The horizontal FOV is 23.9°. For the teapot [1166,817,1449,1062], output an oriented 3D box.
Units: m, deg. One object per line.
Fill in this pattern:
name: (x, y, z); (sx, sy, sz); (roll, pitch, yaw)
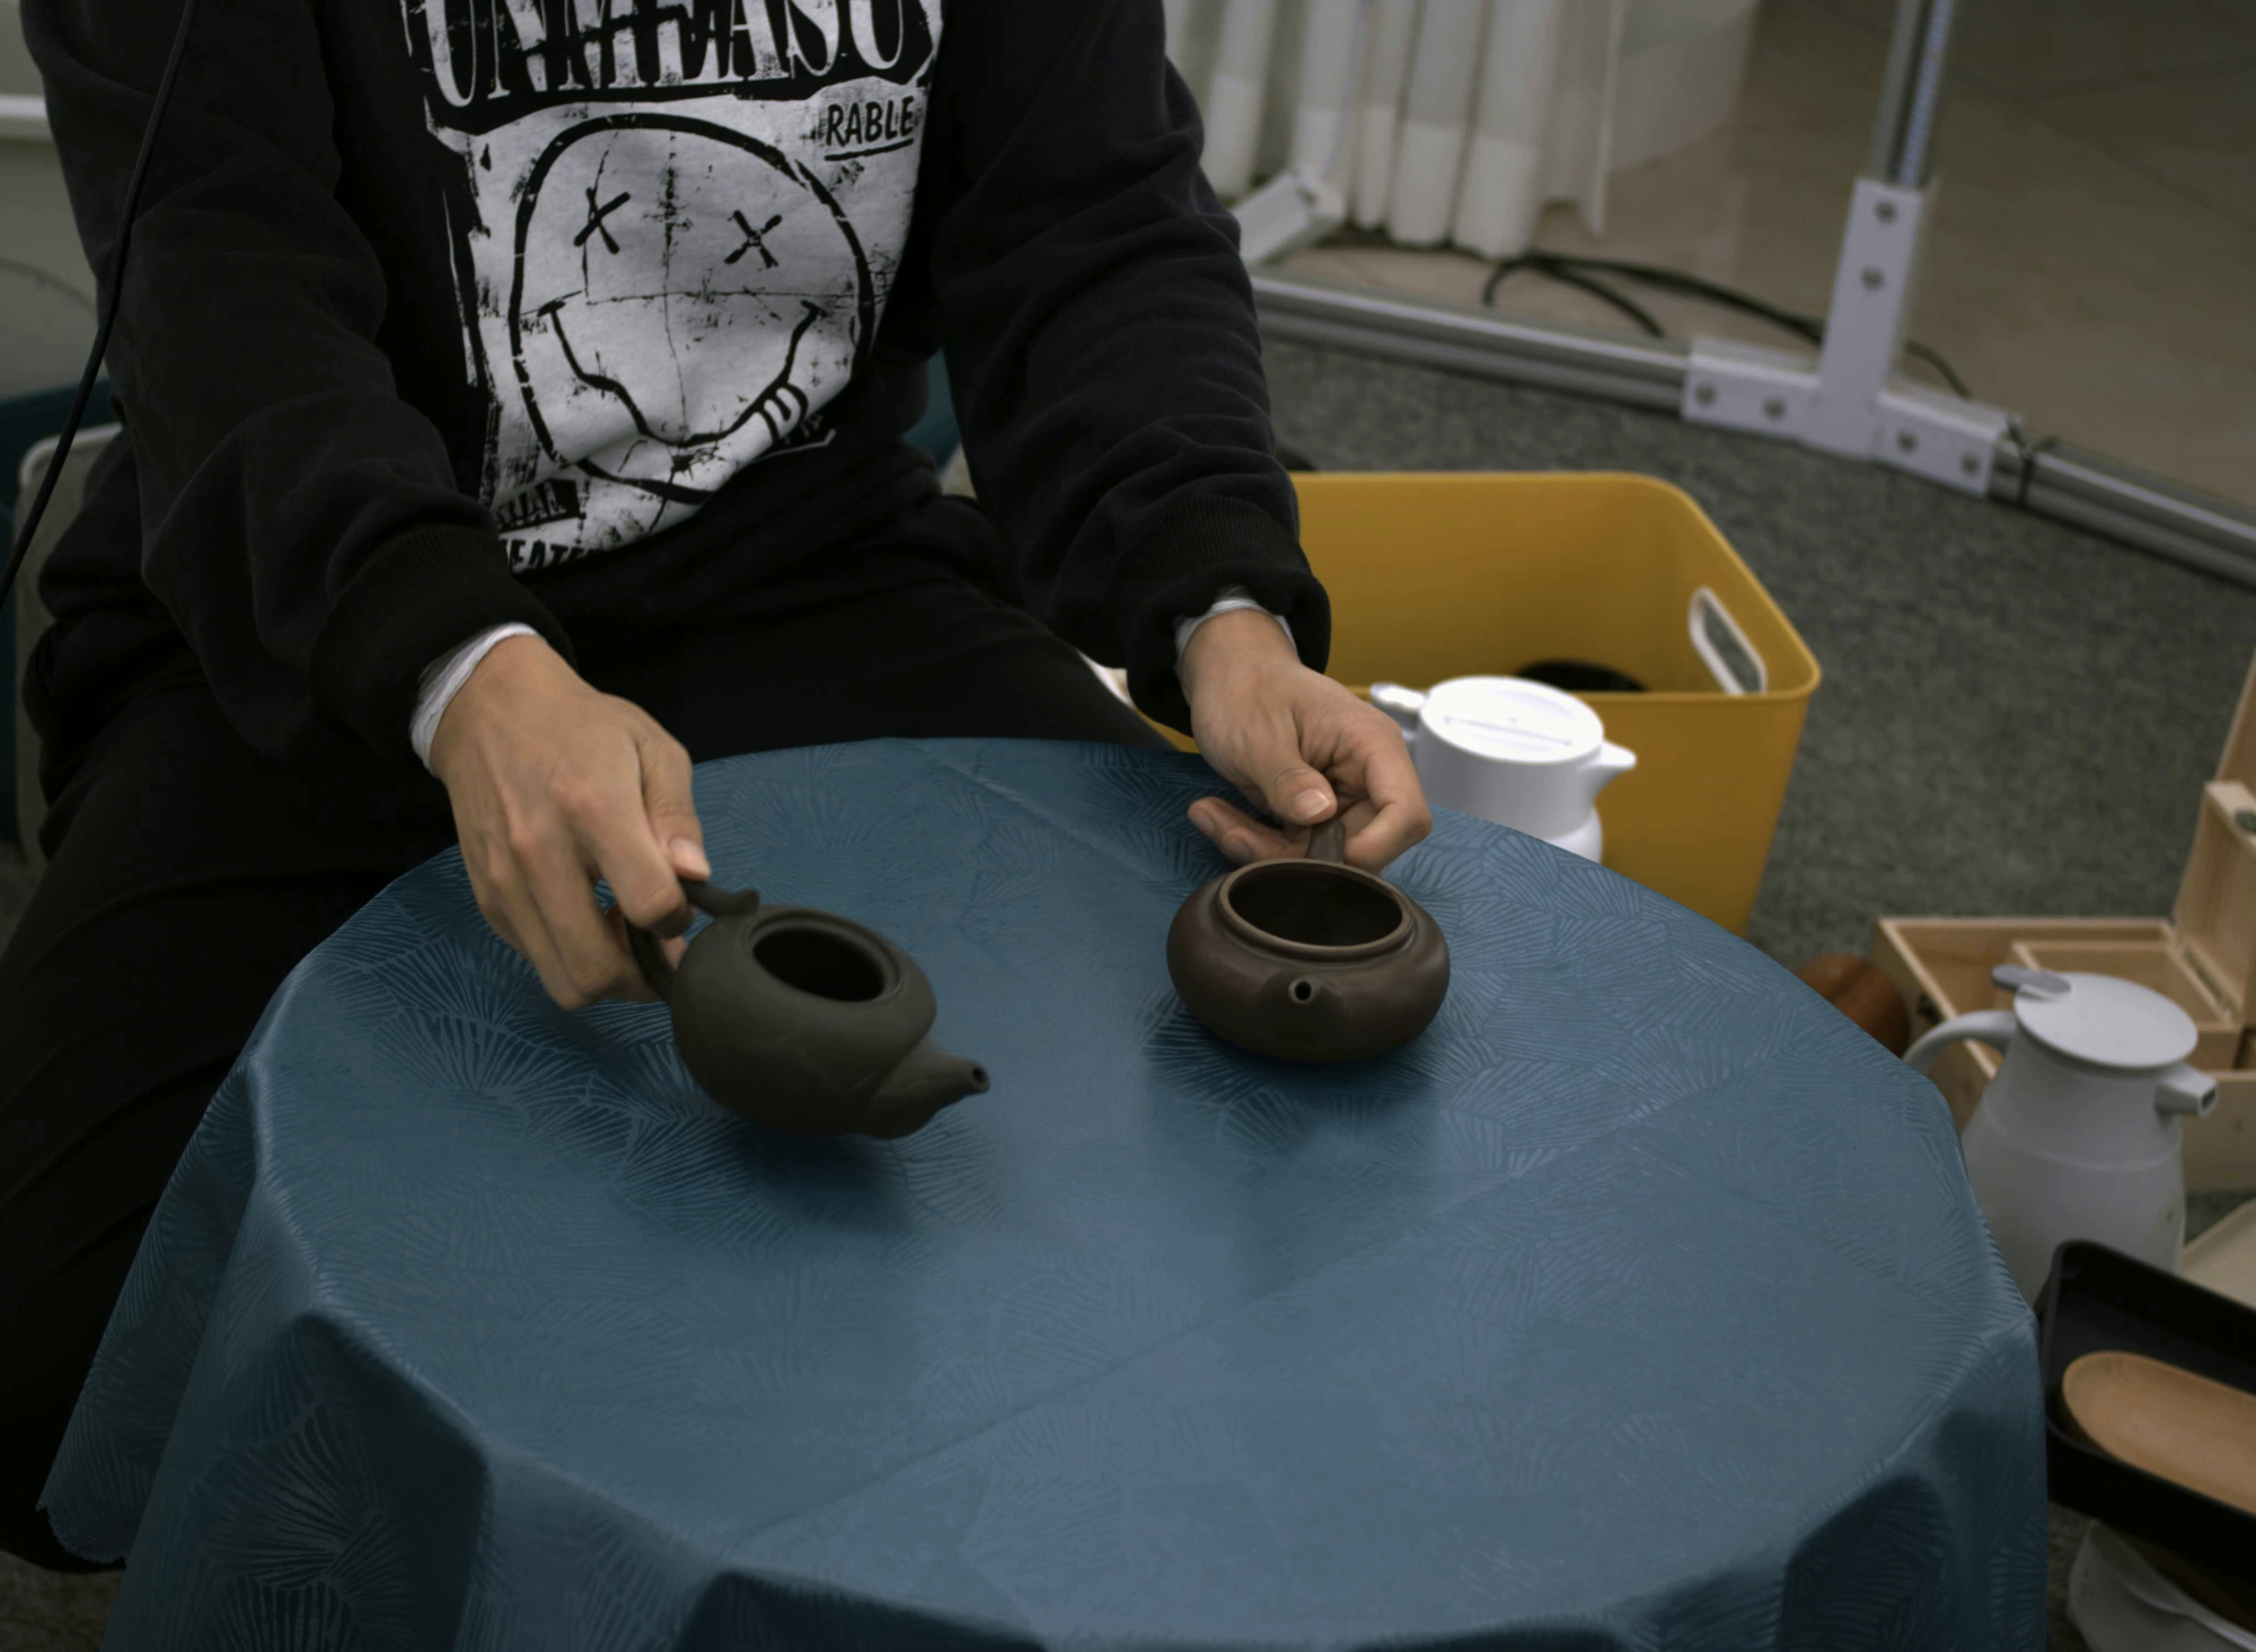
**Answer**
teapot: (0.065, 0.044, 1.916); (0.102, 0.053, 0.154); (7, 27, -3)

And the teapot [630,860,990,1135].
teapot: (-0.112, 0.062, 1.803); (0.155, 0.064, 0.092); (33, 28, 24)
